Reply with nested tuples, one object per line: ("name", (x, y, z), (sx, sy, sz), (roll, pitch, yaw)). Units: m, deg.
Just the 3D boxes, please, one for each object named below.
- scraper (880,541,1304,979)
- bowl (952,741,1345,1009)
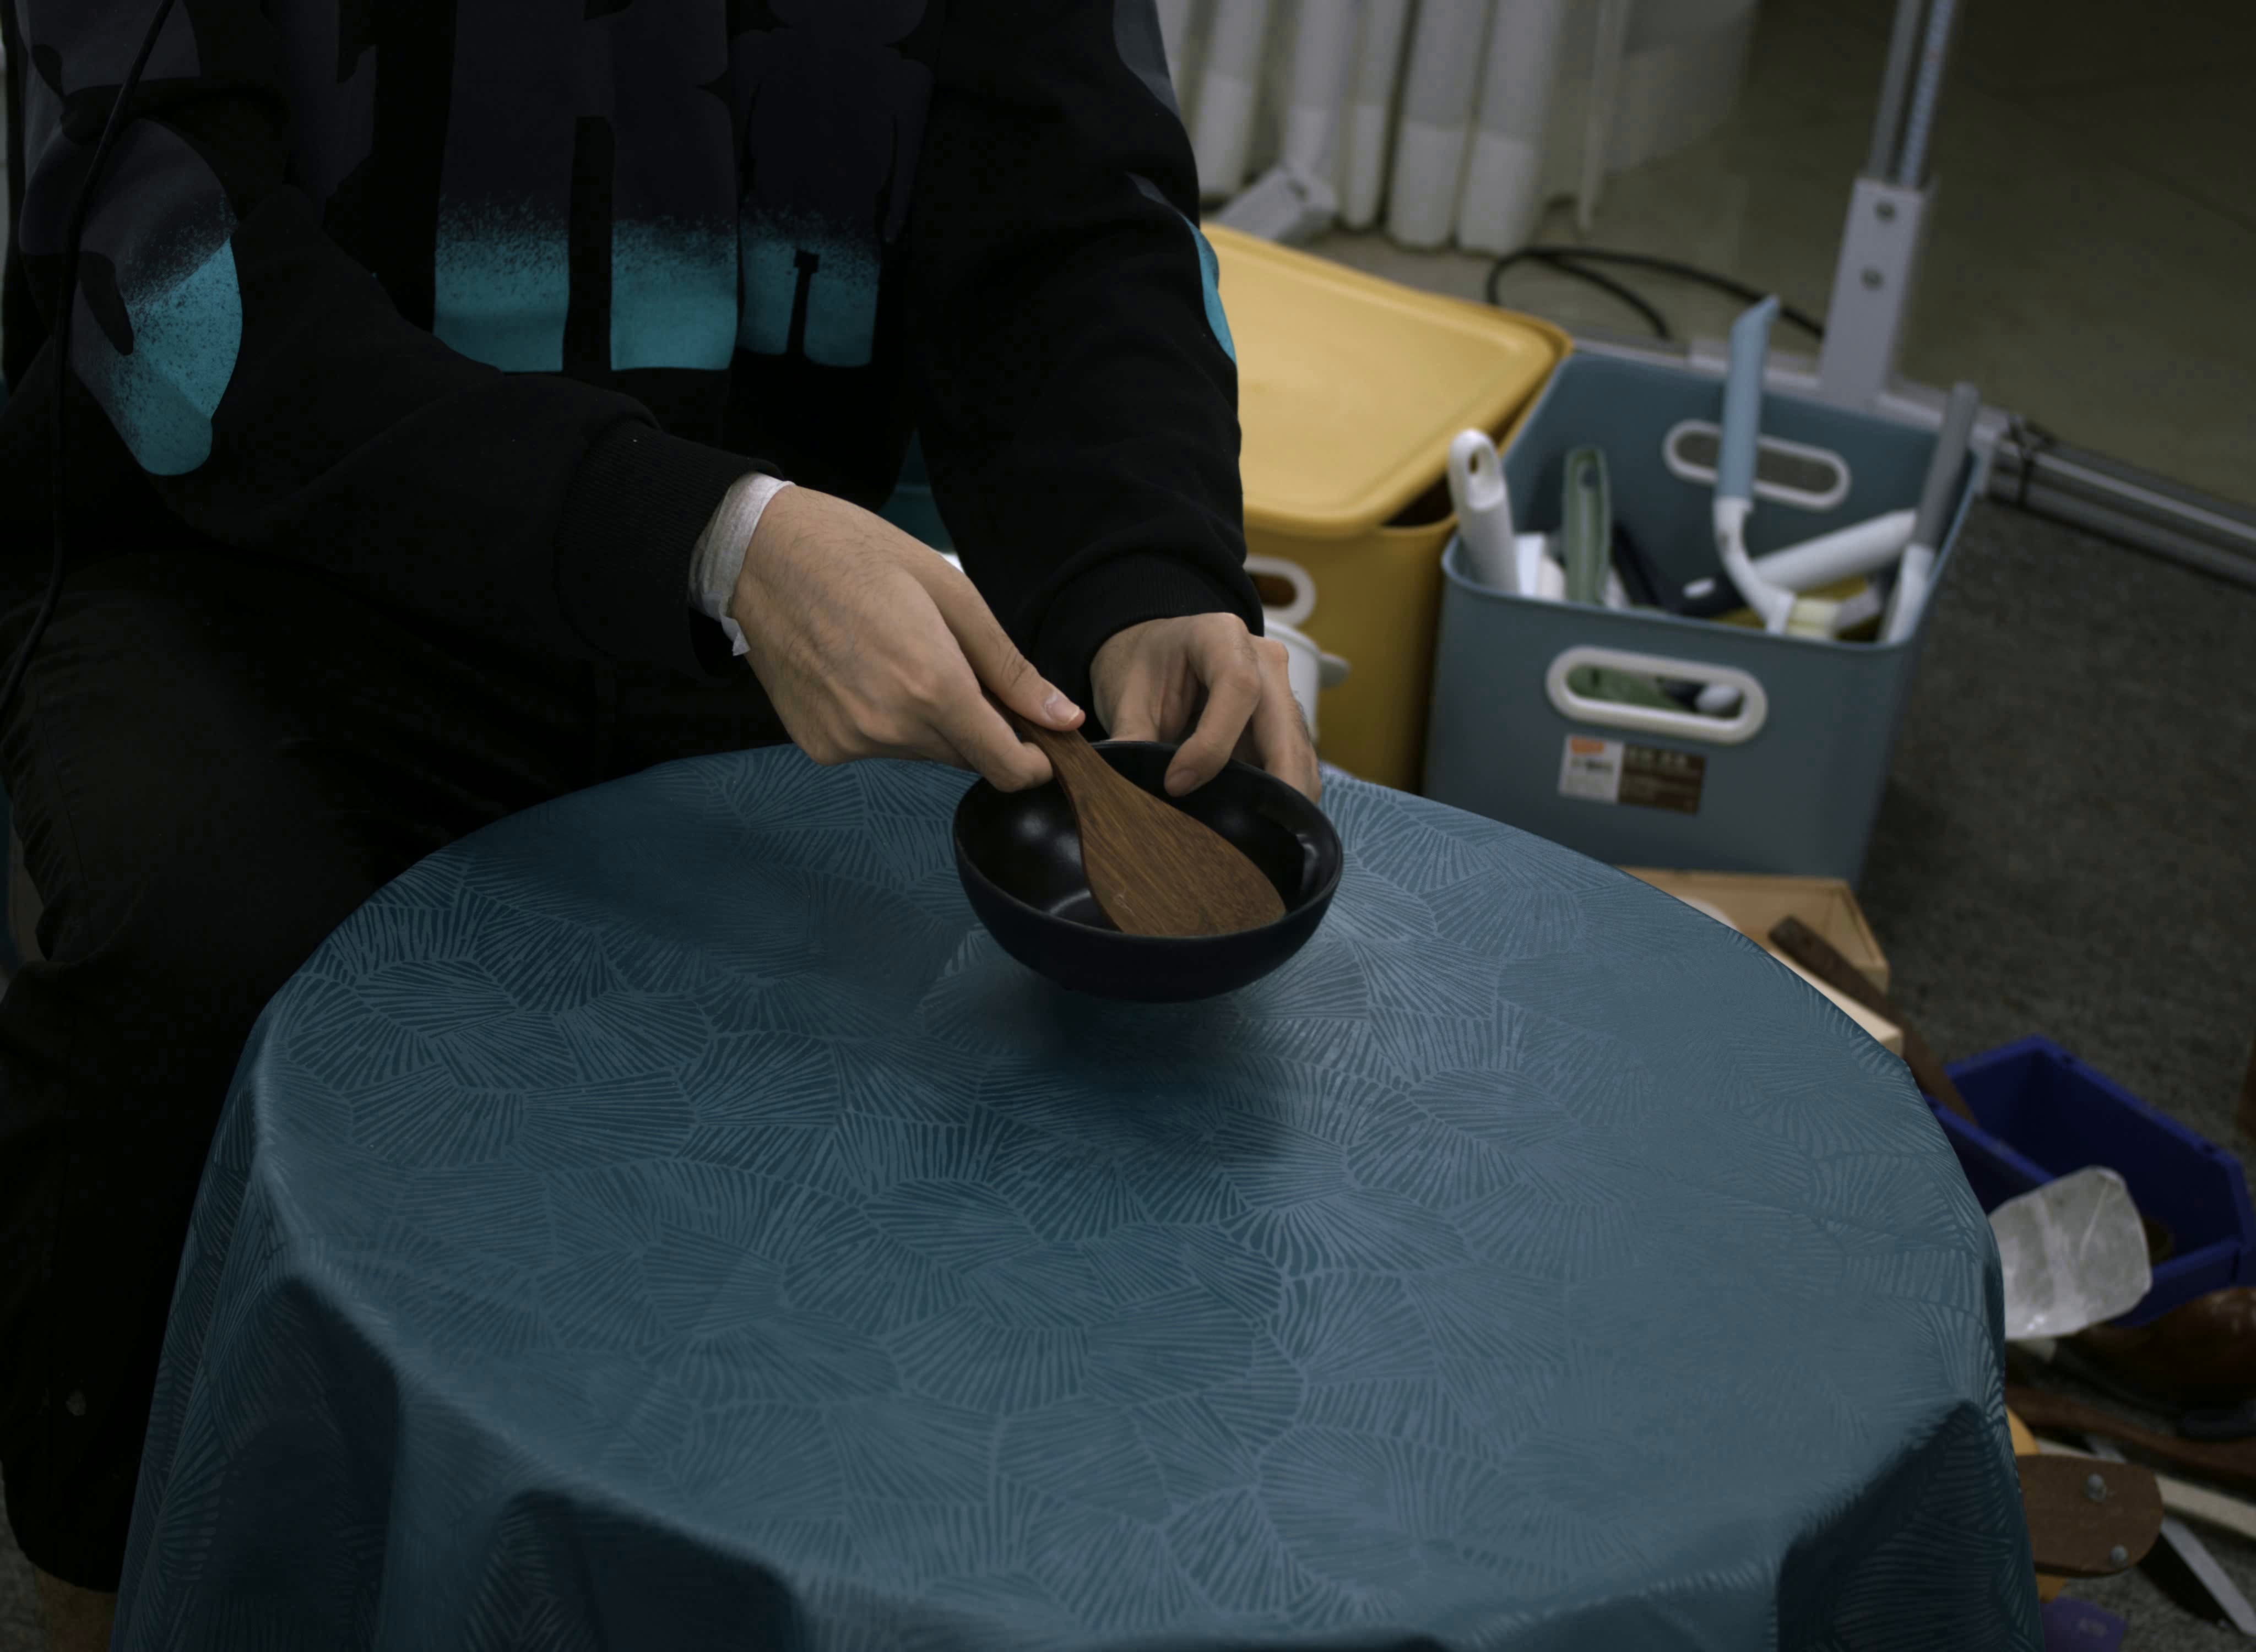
("scraper", (-0.021, -0.026, 1.891), (0.075, 0.011, 0.213), (-19, 59, -38))
("bowl", (0.006, 0.025, 1.881), (0.139, 0.049, 0.141), (2, 30, -2))
